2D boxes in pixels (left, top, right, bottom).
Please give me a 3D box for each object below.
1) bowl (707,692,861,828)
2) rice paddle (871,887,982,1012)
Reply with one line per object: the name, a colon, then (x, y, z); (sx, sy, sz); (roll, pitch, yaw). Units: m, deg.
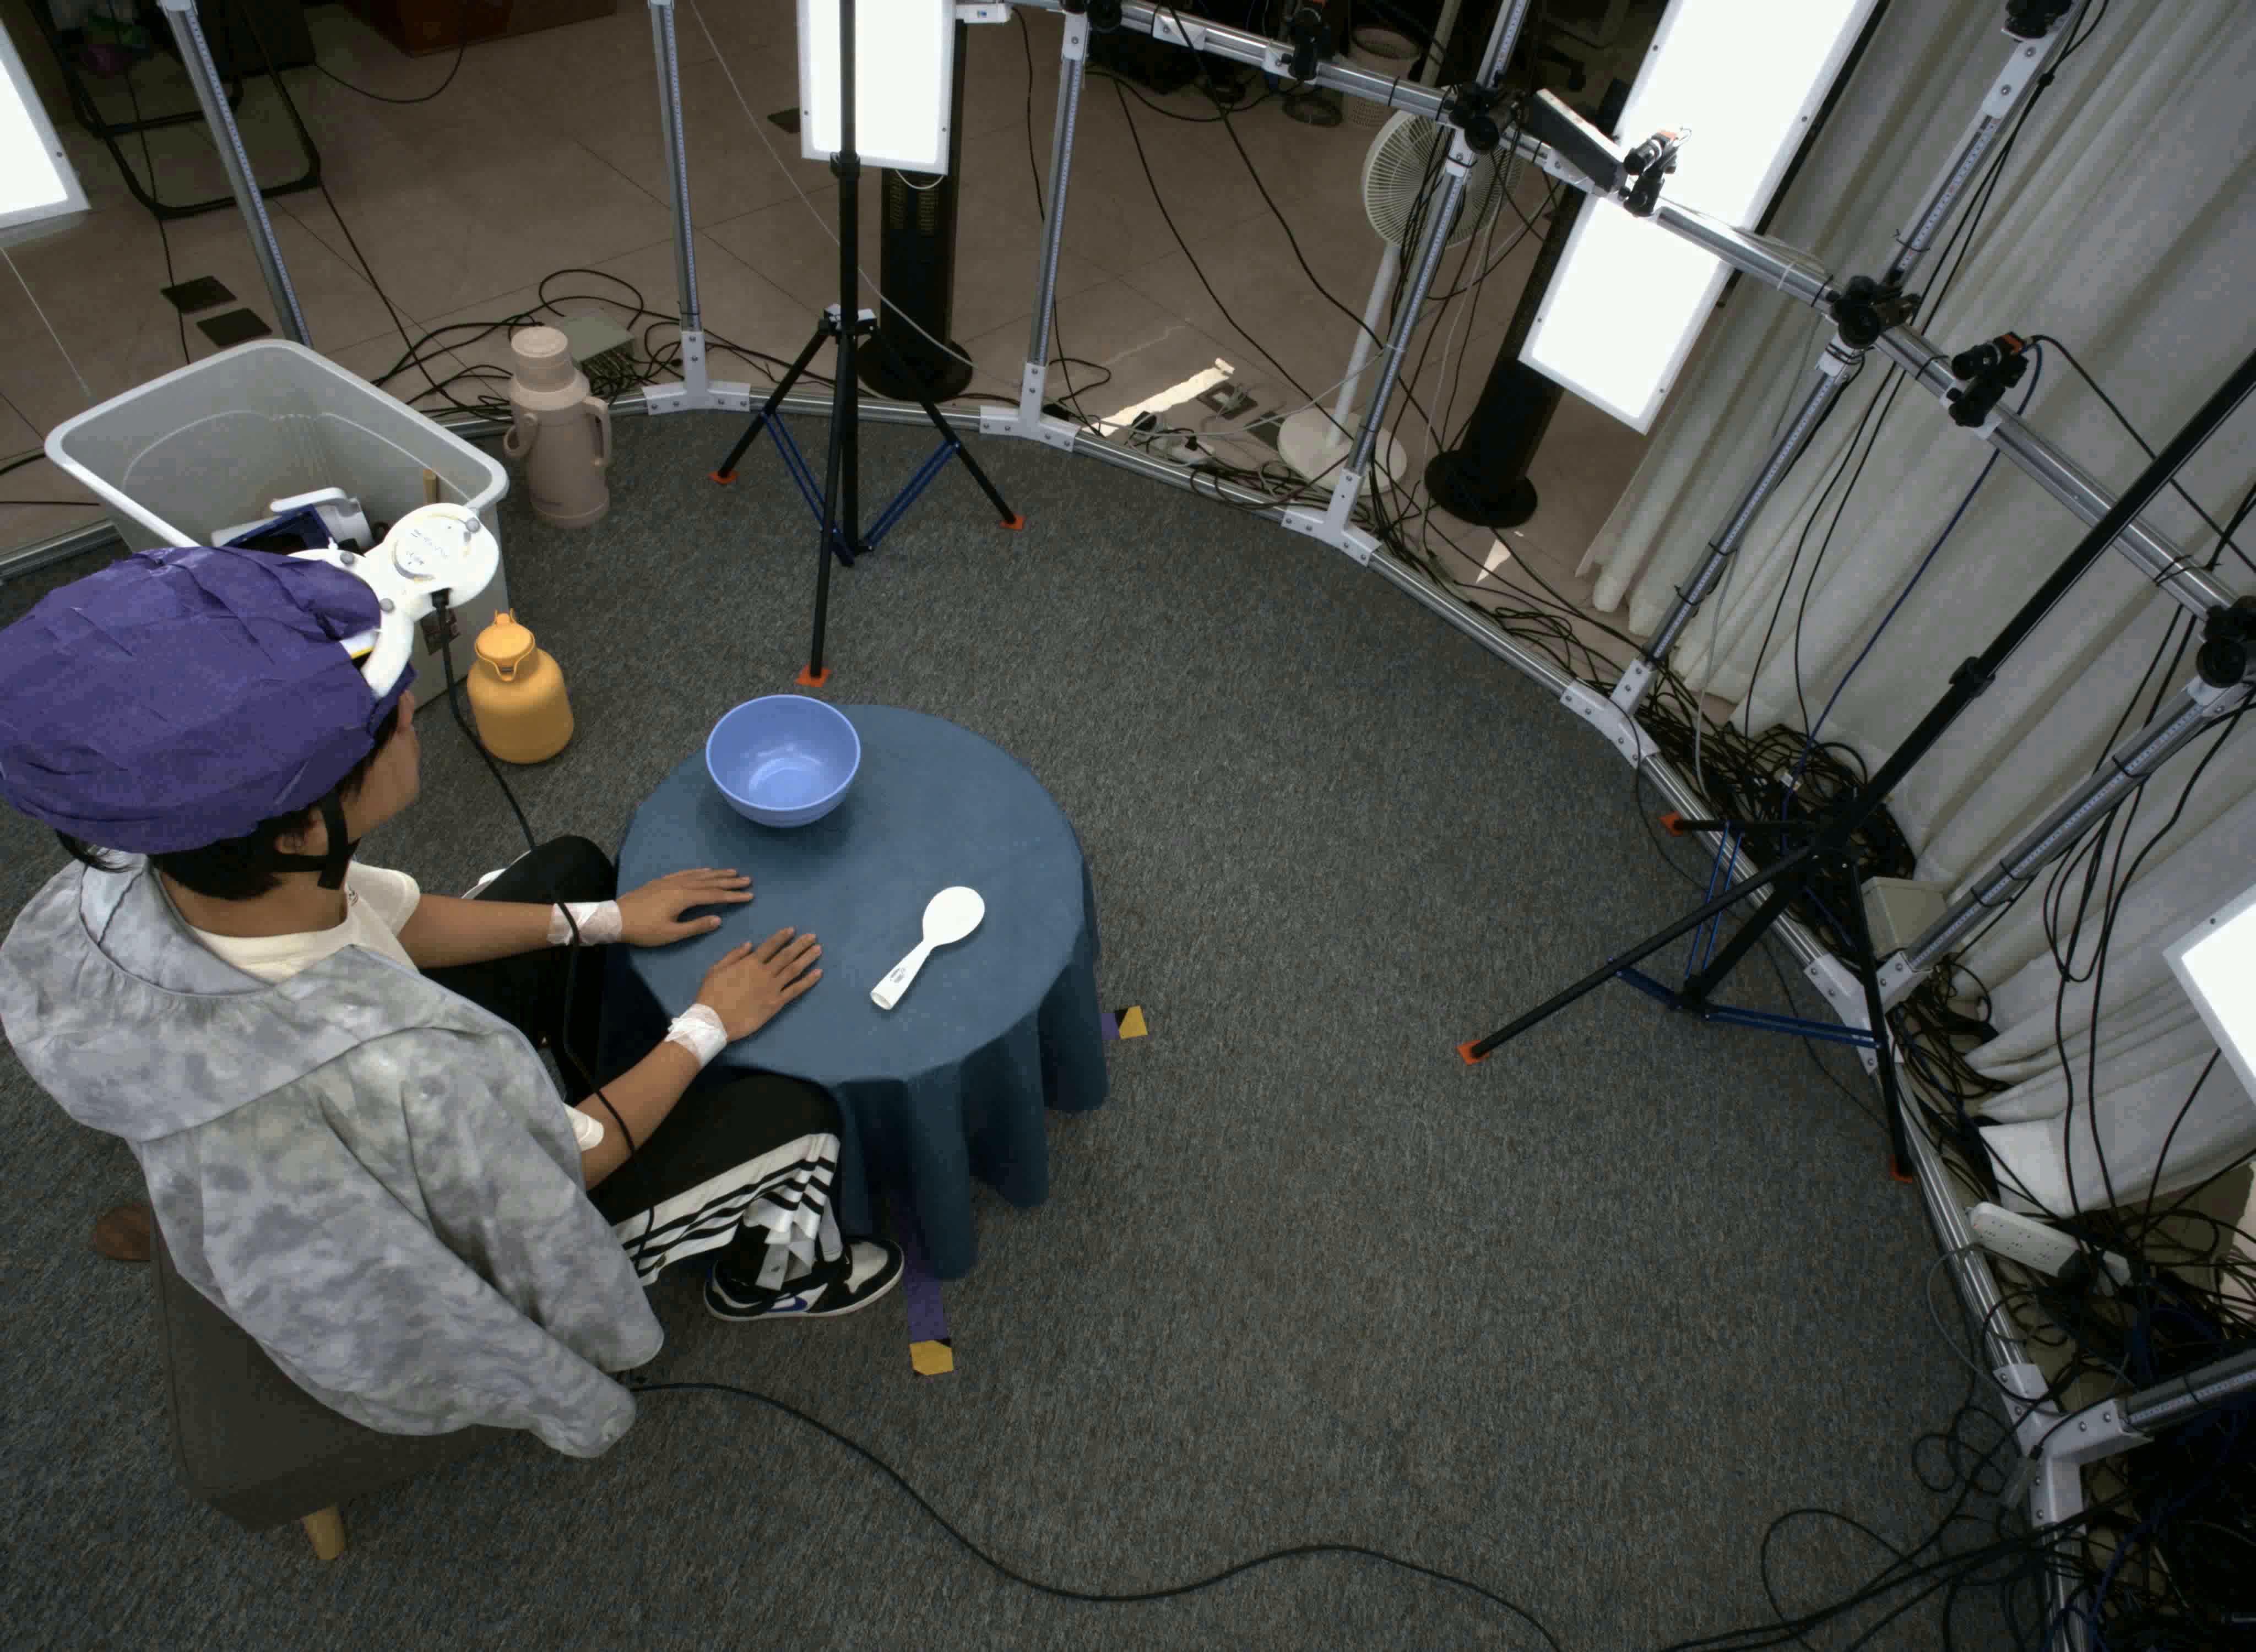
bowl: (-0.452, -0.071, 1.709); (0.196, 0.097, 0.193); (9, 52, -9)
rice paddle: (-0.252, 0.147, 1.640); (0.068, 0.030, 0.204); (30, 53, 8)
